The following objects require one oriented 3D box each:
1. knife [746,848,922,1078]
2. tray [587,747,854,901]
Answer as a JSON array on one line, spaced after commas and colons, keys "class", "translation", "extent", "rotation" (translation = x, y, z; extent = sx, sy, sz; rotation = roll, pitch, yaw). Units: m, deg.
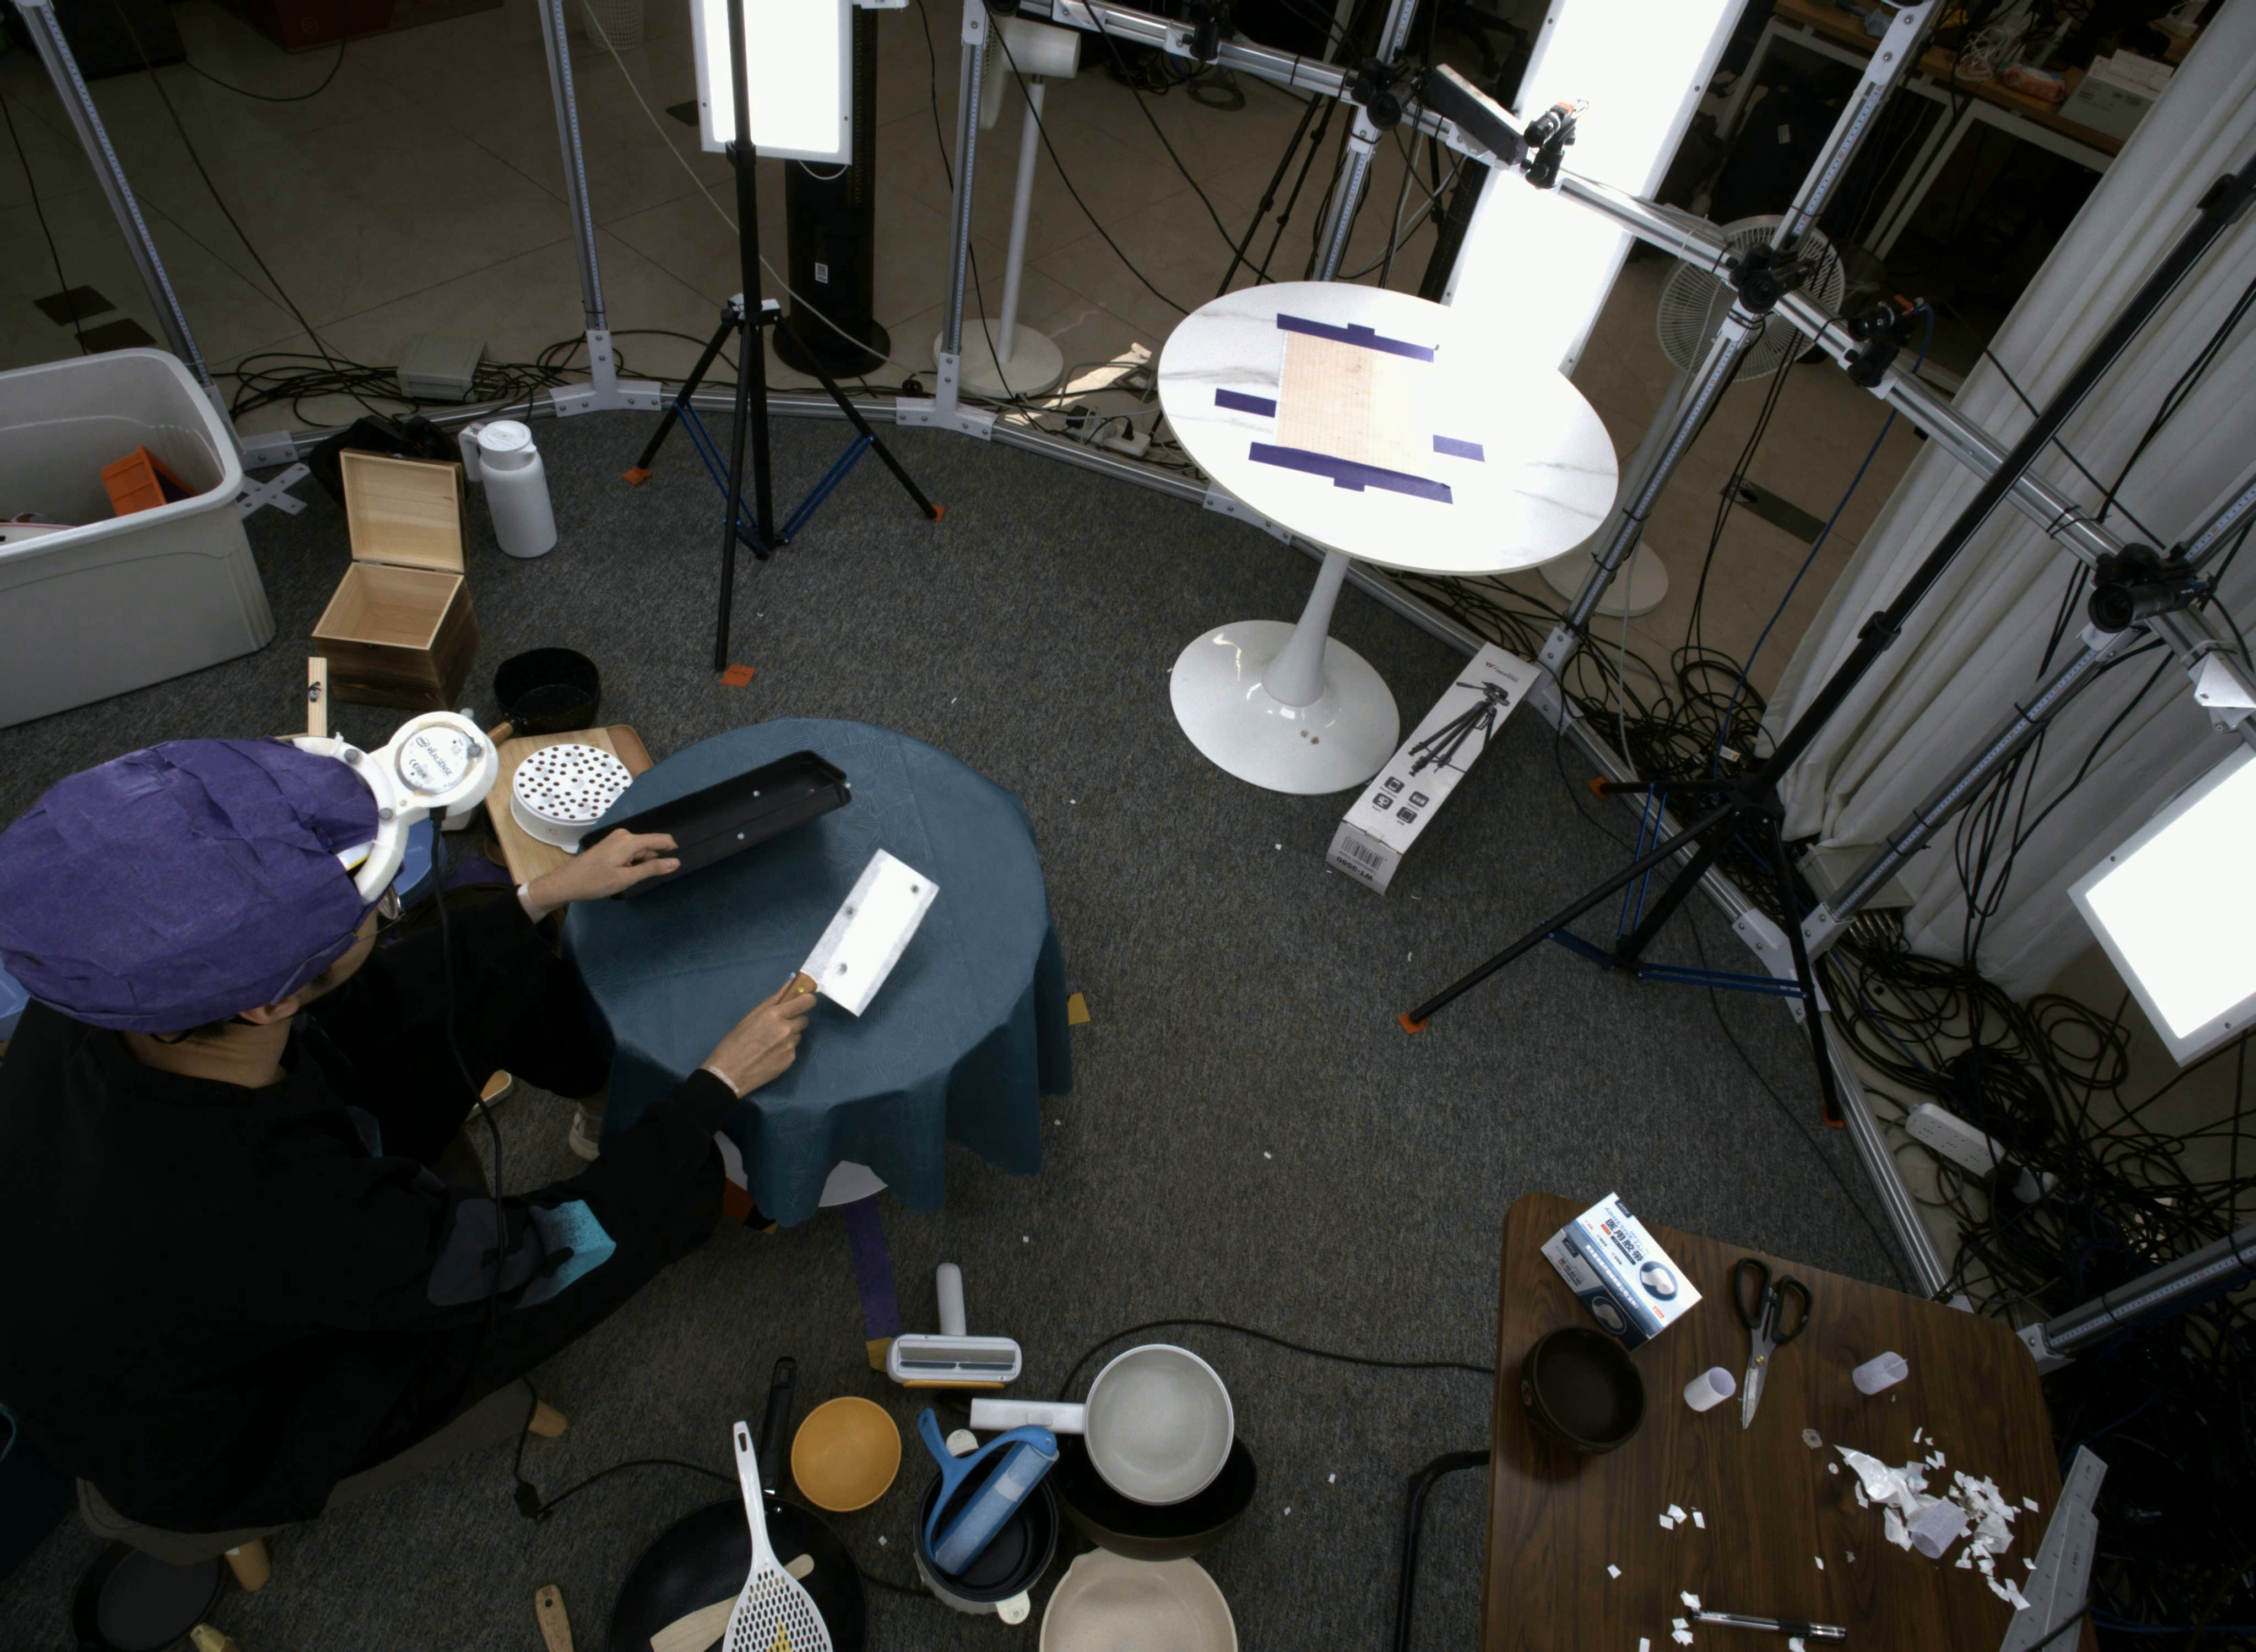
[{"class": "knife", "translation": [-0.340, 0.169, 1.539], "extent": [0.094, 0.021, 0.305], "rotation": [35, 66, -16]}, {"class": "tray", "translation": [-0.509, -0.010, 1.601], "extent": [0.319, 0.038, 0.177], "rotation": [-27, 26, -25]}]
